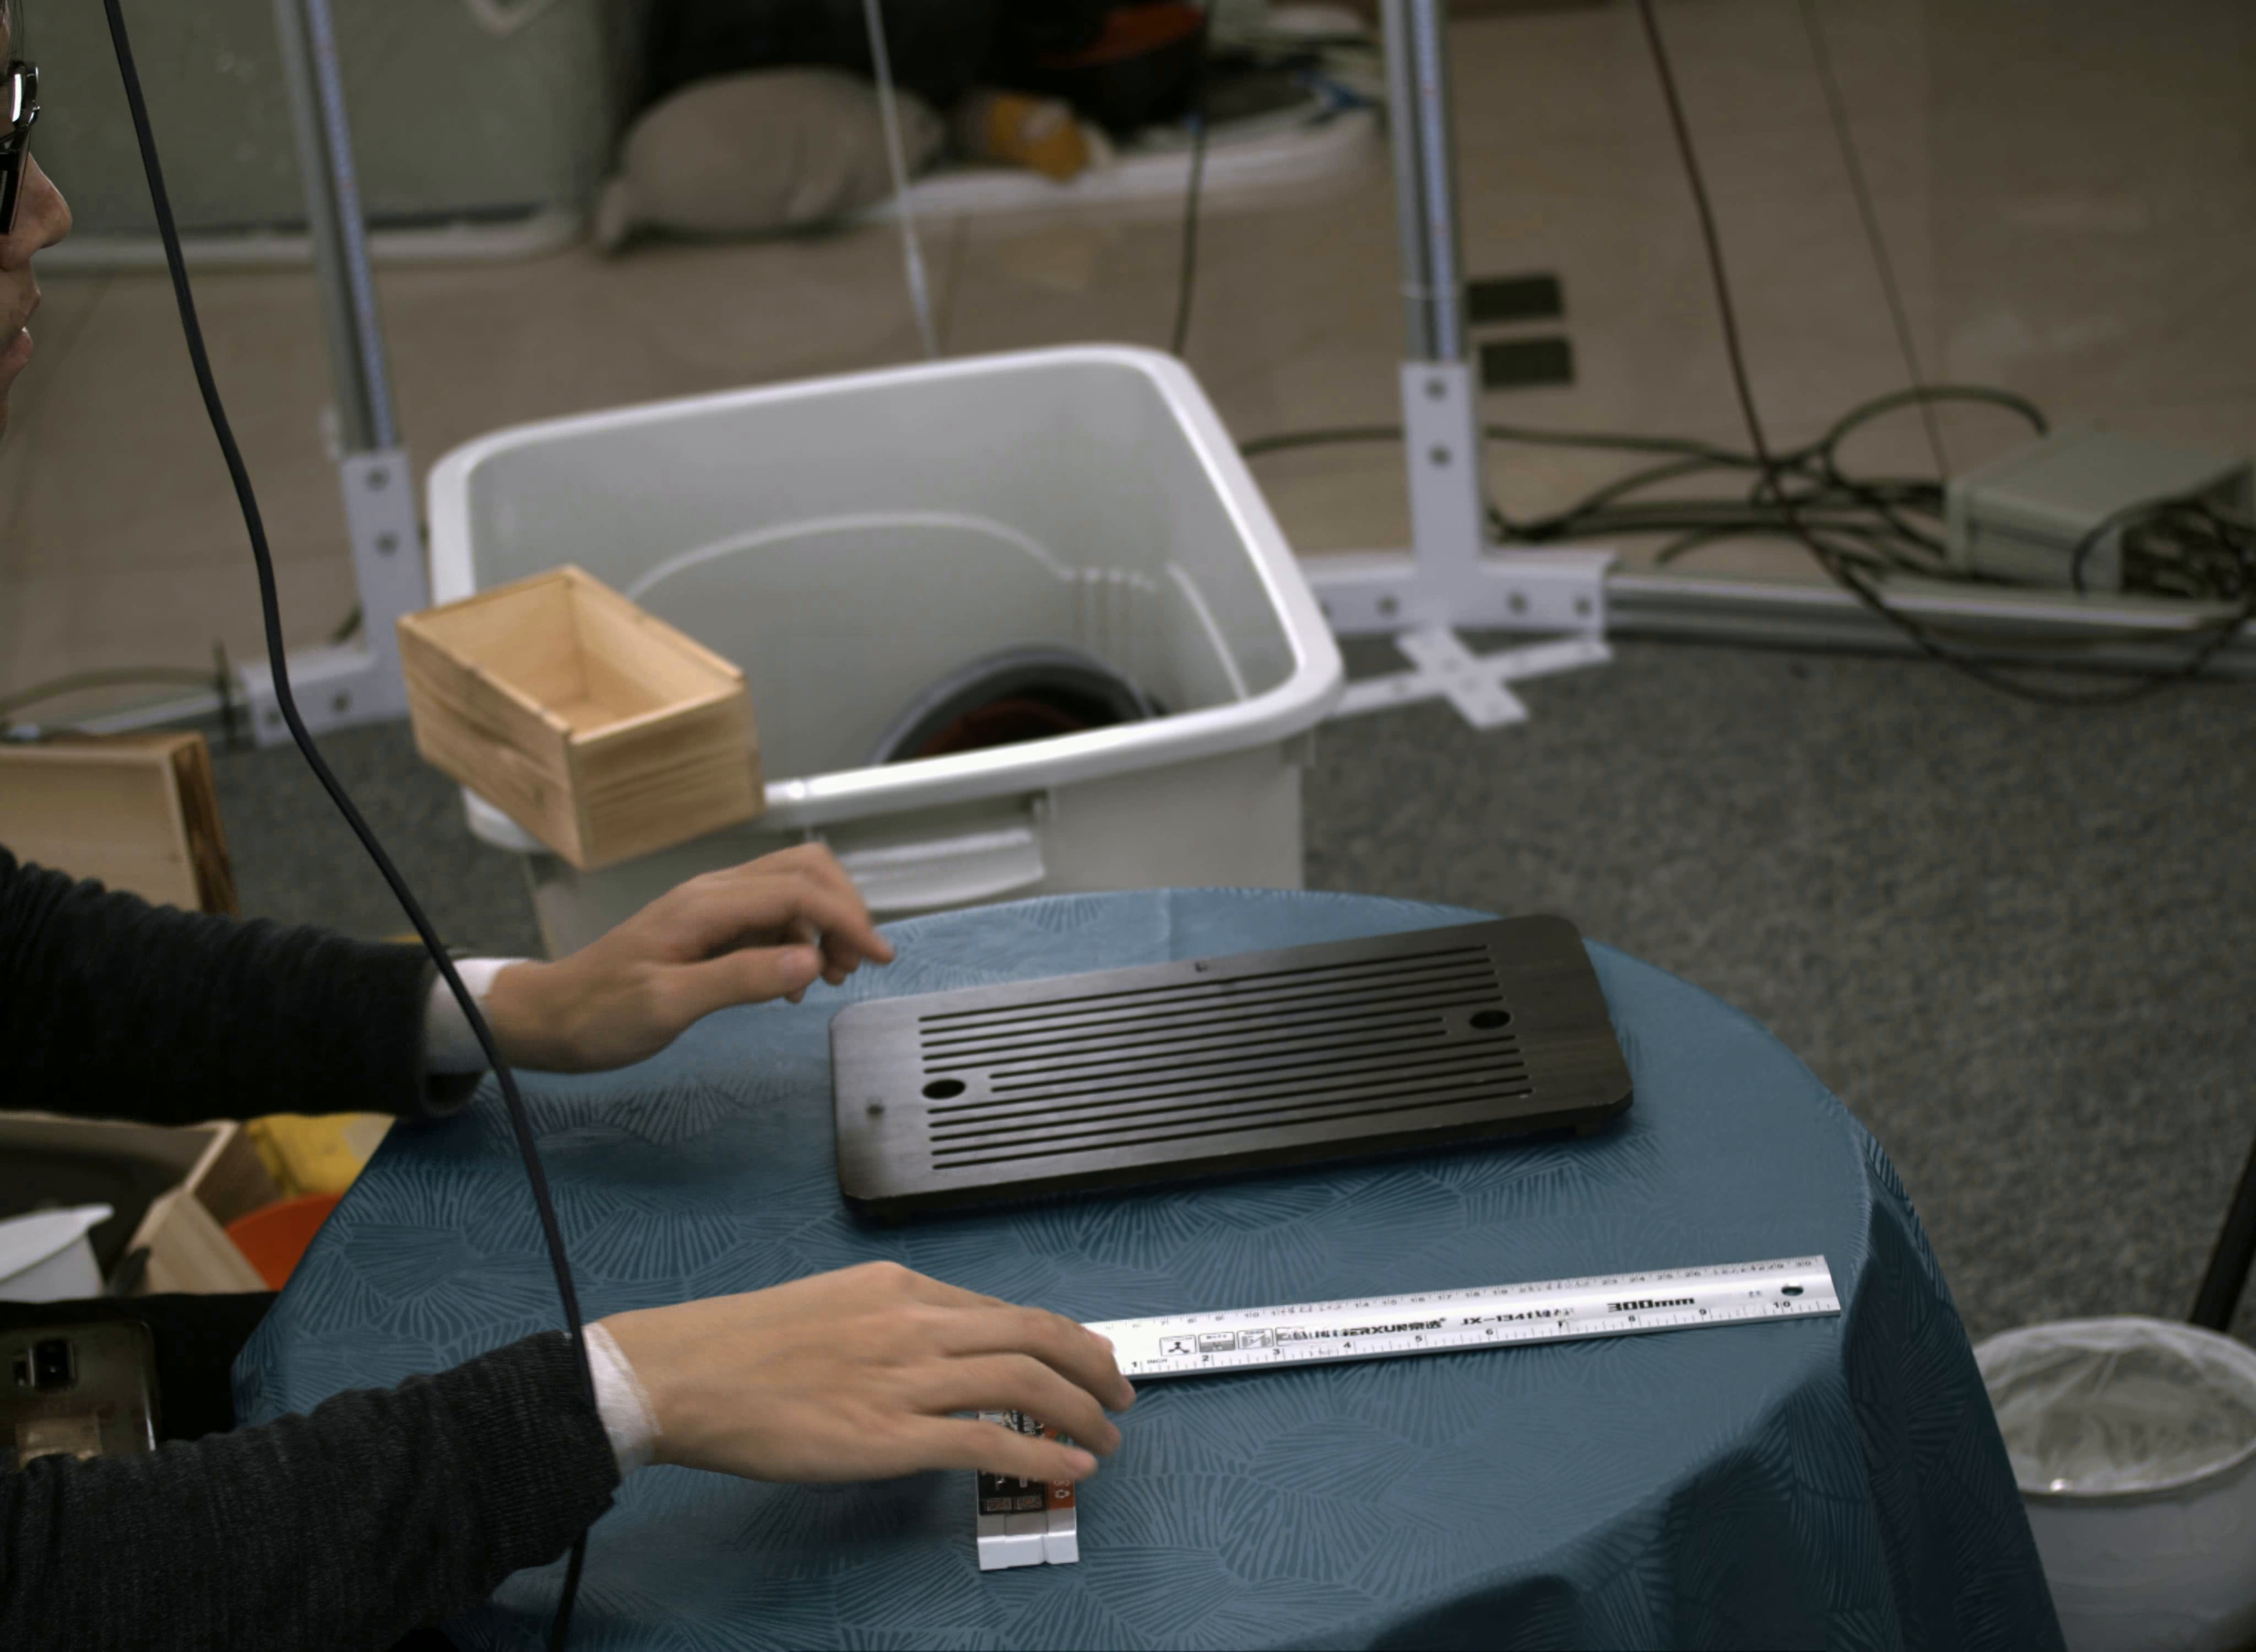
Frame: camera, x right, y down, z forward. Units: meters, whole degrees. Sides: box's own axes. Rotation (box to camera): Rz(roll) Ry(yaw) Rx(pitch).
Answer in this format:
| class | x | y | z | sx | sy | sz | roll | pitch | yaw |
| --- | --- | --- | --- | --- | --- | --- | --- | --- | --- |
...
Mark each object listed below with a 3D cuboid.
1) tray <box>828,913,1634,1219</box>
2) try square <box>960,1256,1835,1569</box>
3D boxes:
| class | x | y | z | sx | sy | sz | roll | pitch | yaw |
| --- | --- | --- | --- | --- | --- | --- | --- | --- | --- |
| tray | 0.036 | 0.094 | 2.214 | 0.305 | 0.019 | 0.167 | -7 | 25 | -1 |
| try square | 0.097 | 0.201 | 1.982 | 0.312 | 0.016 | 0.150 | -5 | 25 | 1 |
